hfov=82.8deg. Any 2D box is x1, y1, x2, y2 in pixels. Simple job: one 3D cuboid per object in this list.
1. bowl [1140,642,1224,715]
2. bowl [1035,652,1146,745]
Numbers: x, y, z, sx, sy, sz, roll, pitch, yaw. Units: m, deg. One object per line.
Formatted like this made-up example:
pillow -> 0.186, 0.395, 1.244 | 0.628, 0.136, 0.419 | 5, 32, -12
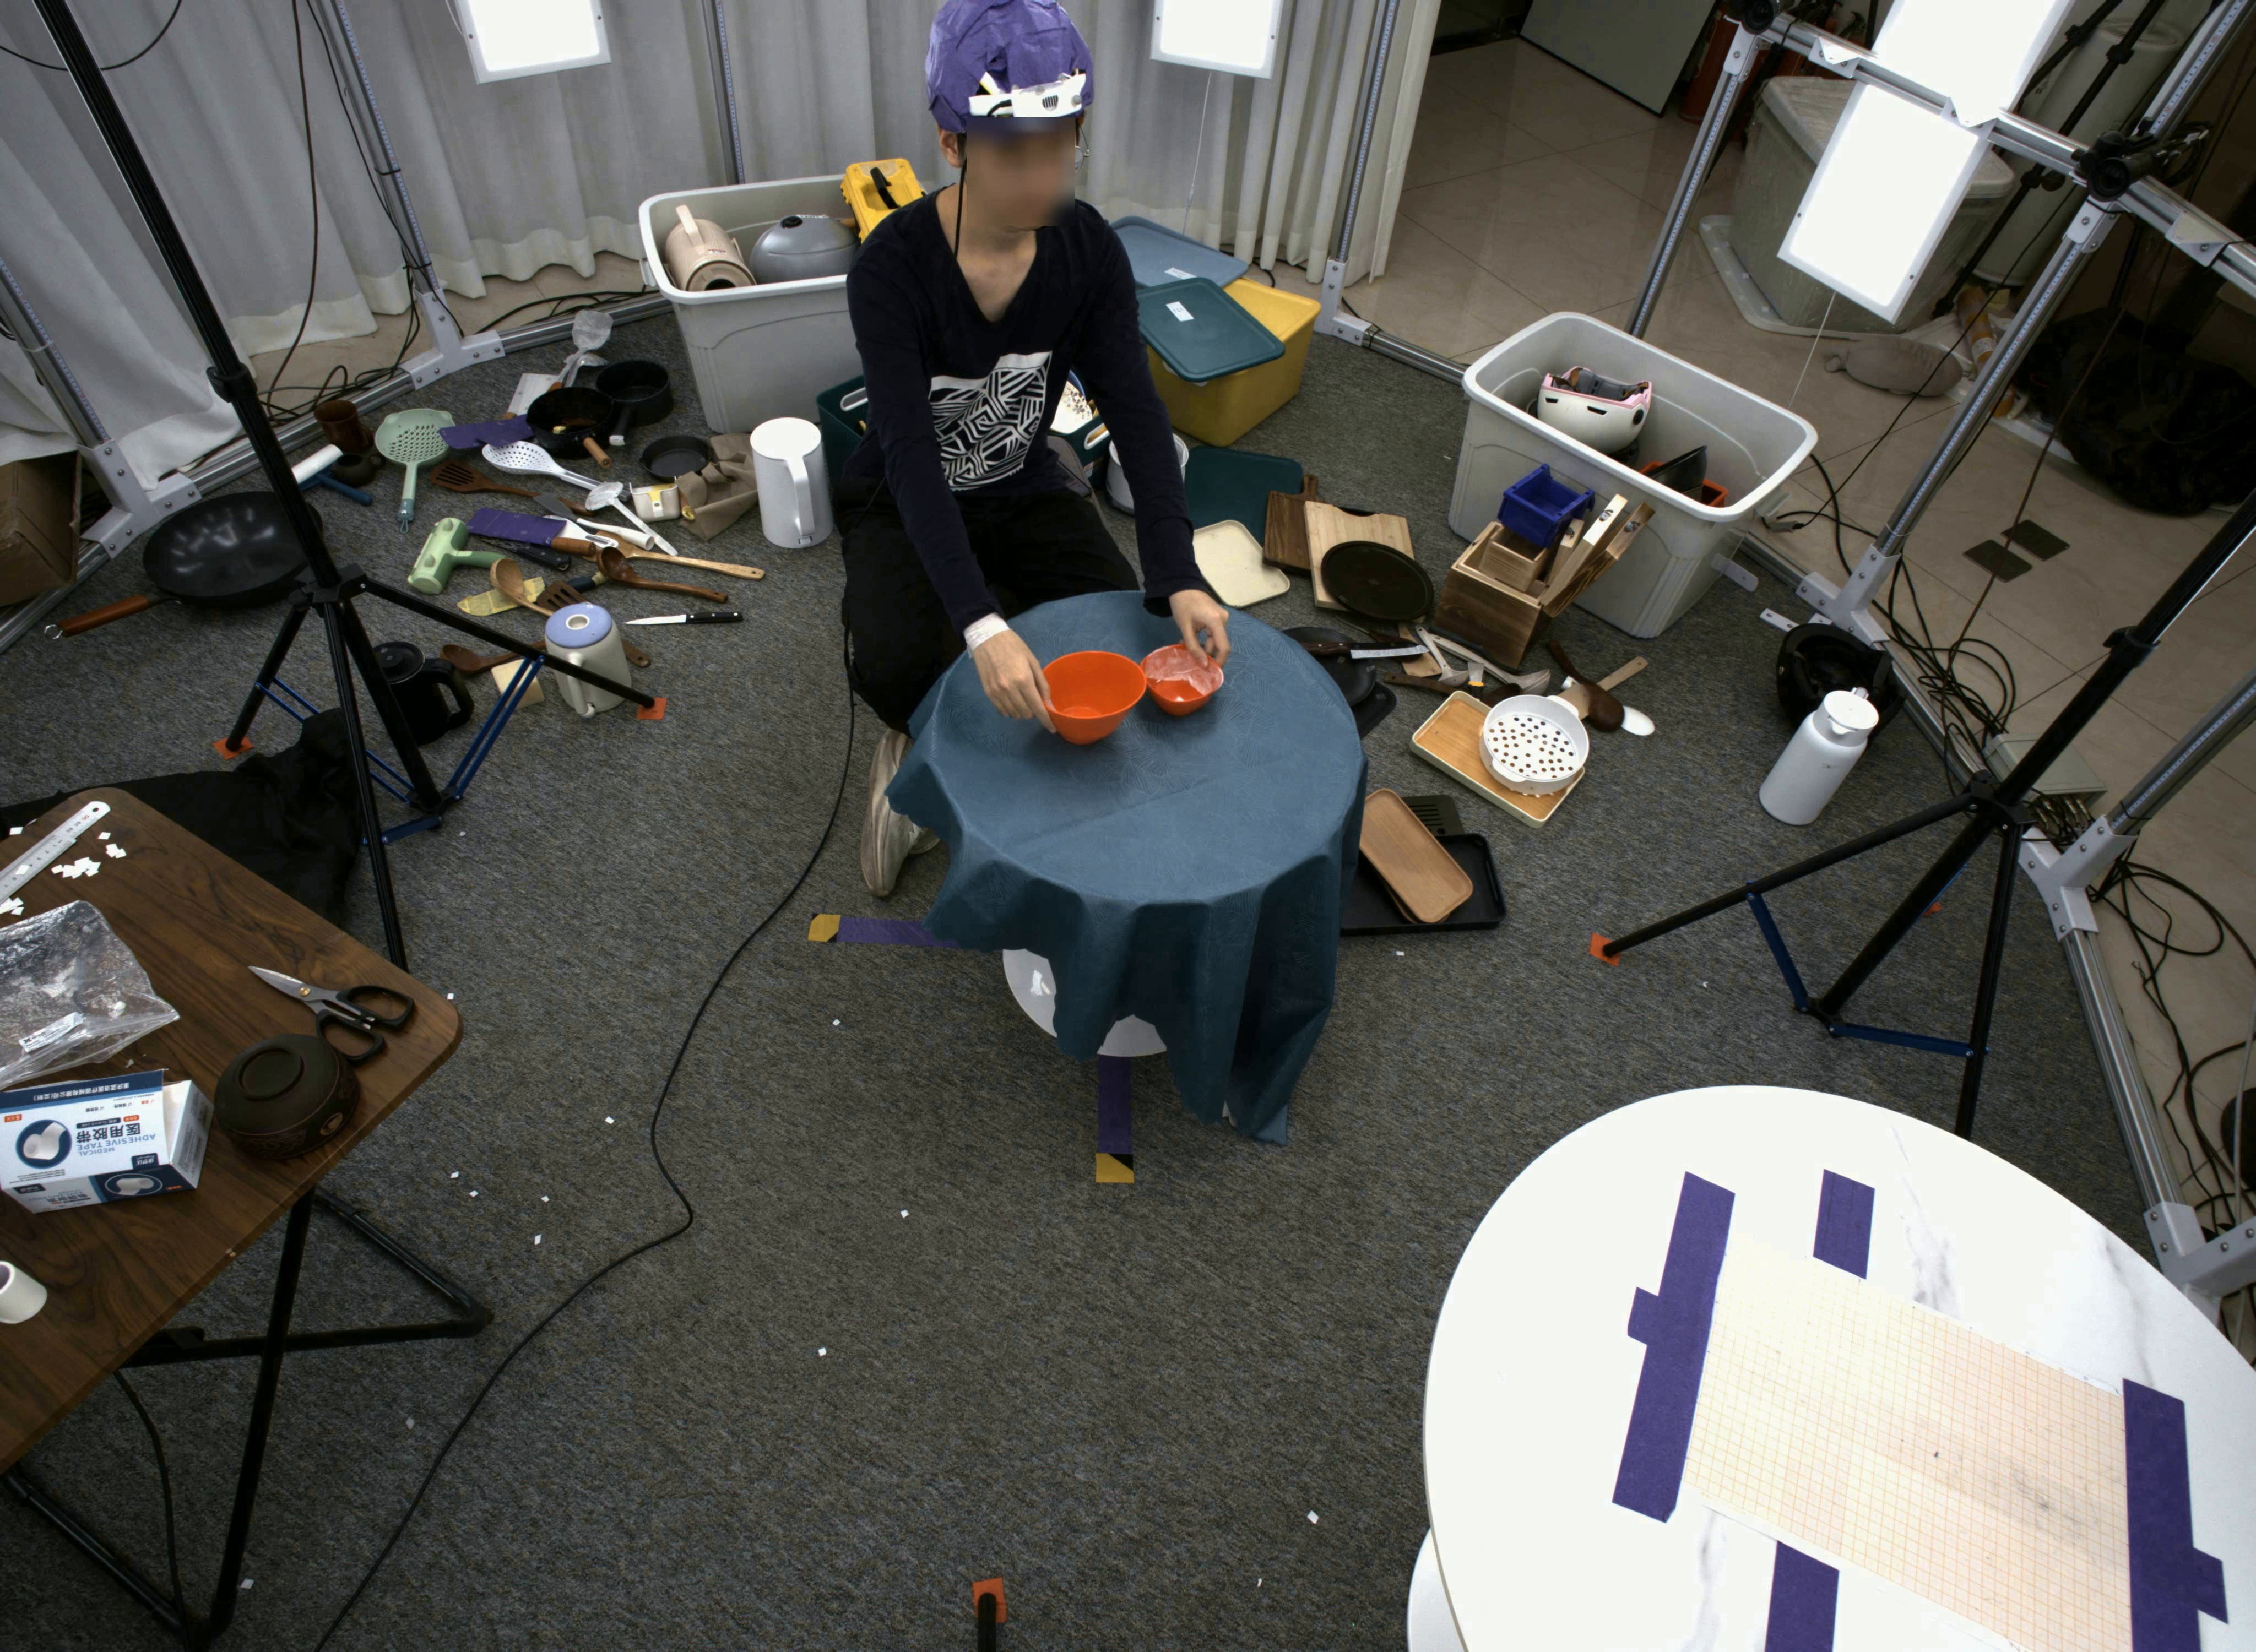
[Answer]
bowl -> 0.074, -0.202, 1.813 | 0.119, 0.050, 0.122 | 2, 51, -2
bowl -> -0.053, -0.162, 1.739 | 0.148, 0.102, 0.152 | 2, 49, -3
